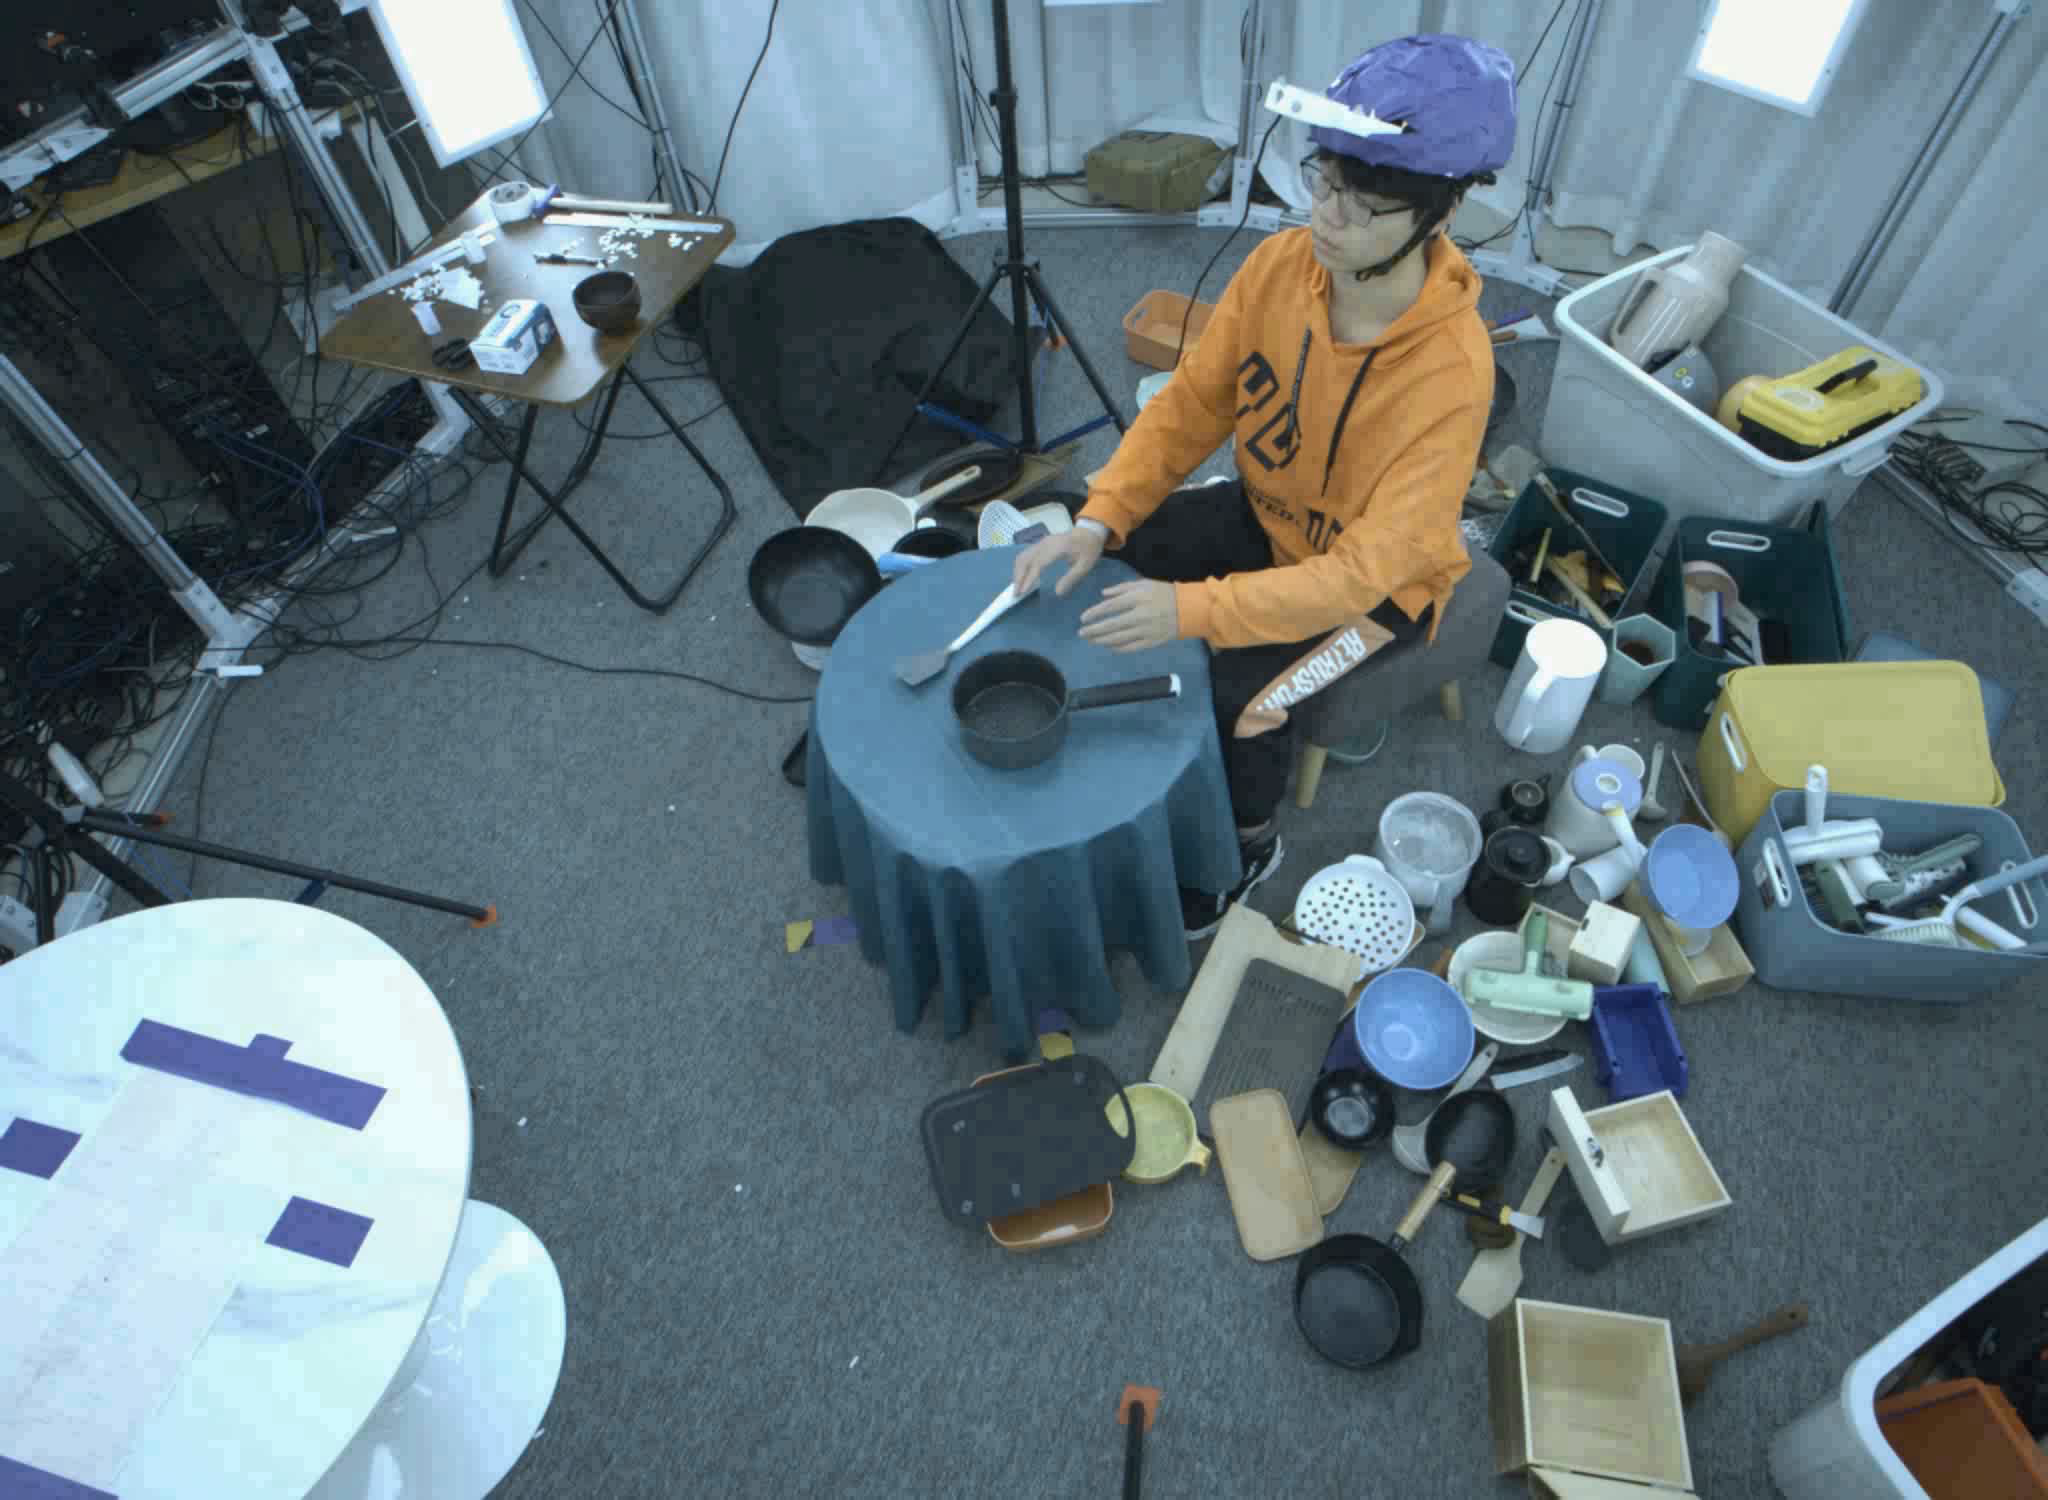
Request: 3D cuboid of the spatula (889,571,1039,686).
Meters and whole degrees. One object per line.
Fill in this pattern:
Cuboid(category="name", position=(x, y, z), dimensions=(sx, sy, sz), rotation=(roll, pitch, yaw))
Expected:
Cuboid(category="spatula", position=(-0.088, -0.187, 1.903), dimensions=(0.058, 0.032, 0.289), rotation=(39, 64, 22))

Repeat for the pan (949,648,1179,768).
Cuboid(category="pan", position=(0.059, -0.063, 1.777), dimensions=(0.328, 0.087, 0.170), rotation=(-1, 56, 4))
